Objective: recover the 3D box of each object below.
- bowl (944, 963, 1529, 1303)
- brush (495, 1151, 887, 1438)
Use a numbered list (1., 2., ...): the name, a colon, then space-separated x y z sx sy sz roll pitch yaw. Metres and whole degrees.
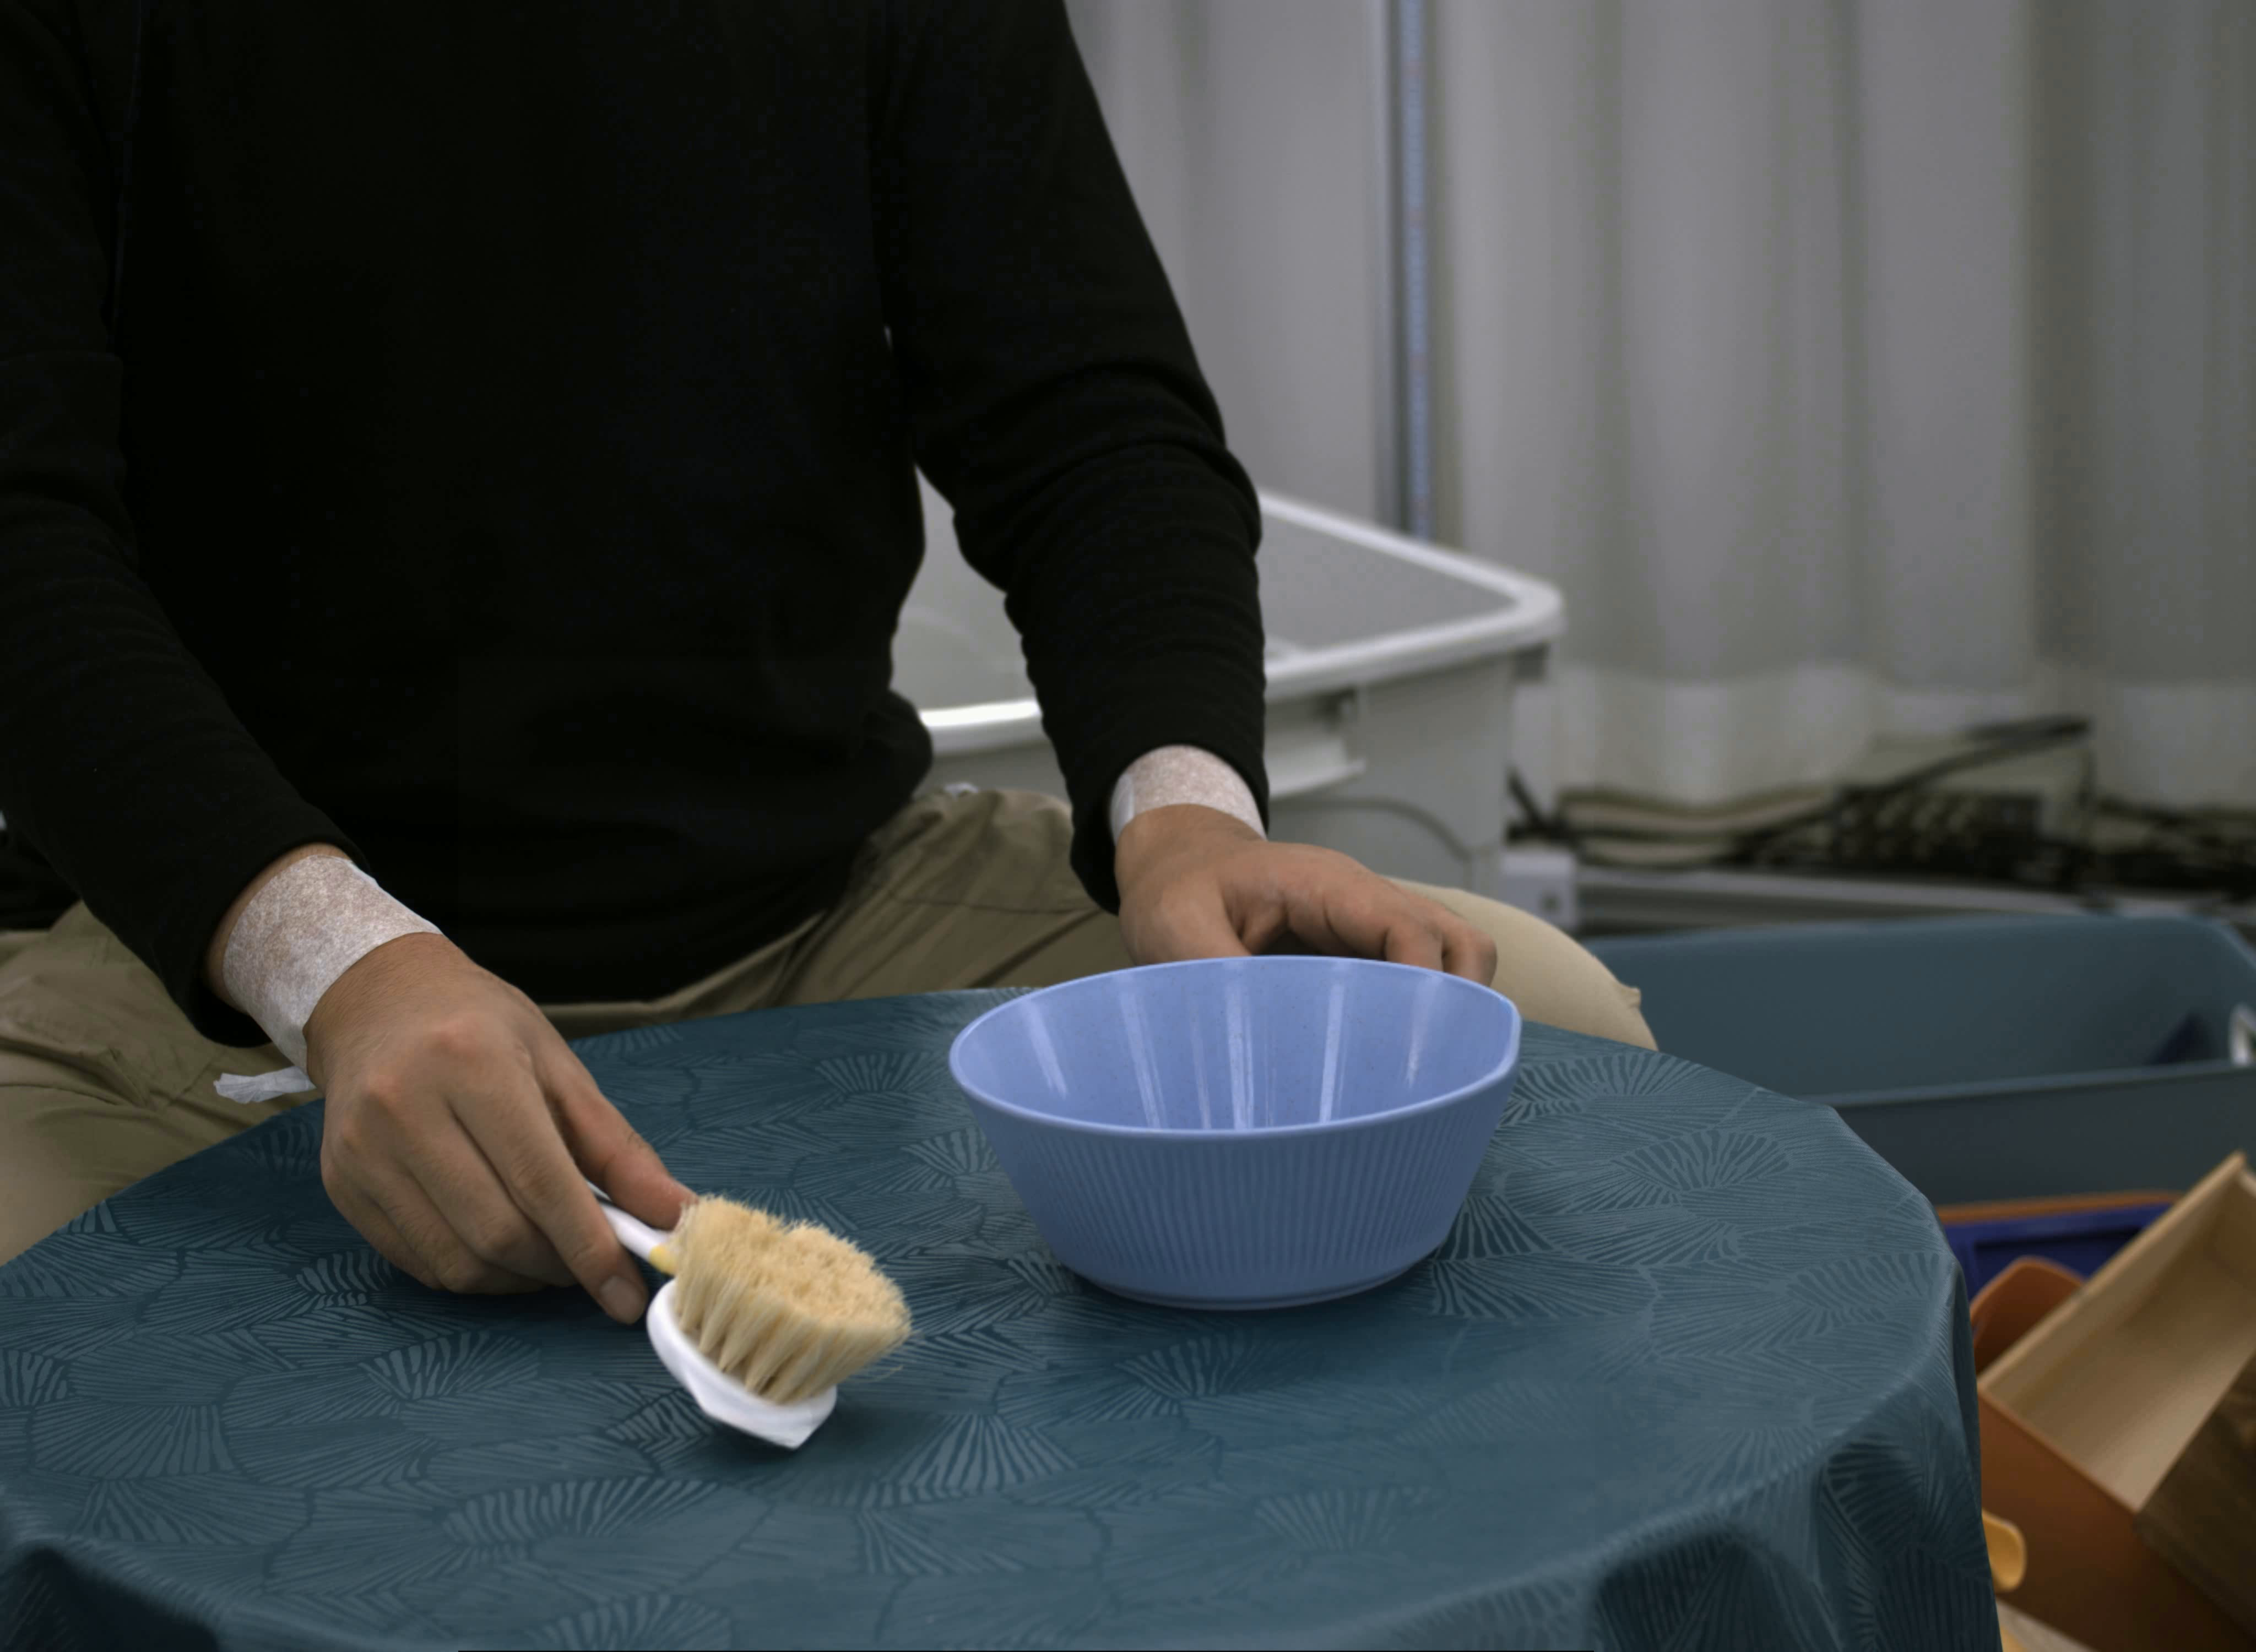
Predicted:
1. bowl: 0.033 0.094 1.645 0.175 0.070 0.177 -2 14 0
2. brush: -0.137 0.115 1.615 0.068 0.056 0.268 32 -1 -22
